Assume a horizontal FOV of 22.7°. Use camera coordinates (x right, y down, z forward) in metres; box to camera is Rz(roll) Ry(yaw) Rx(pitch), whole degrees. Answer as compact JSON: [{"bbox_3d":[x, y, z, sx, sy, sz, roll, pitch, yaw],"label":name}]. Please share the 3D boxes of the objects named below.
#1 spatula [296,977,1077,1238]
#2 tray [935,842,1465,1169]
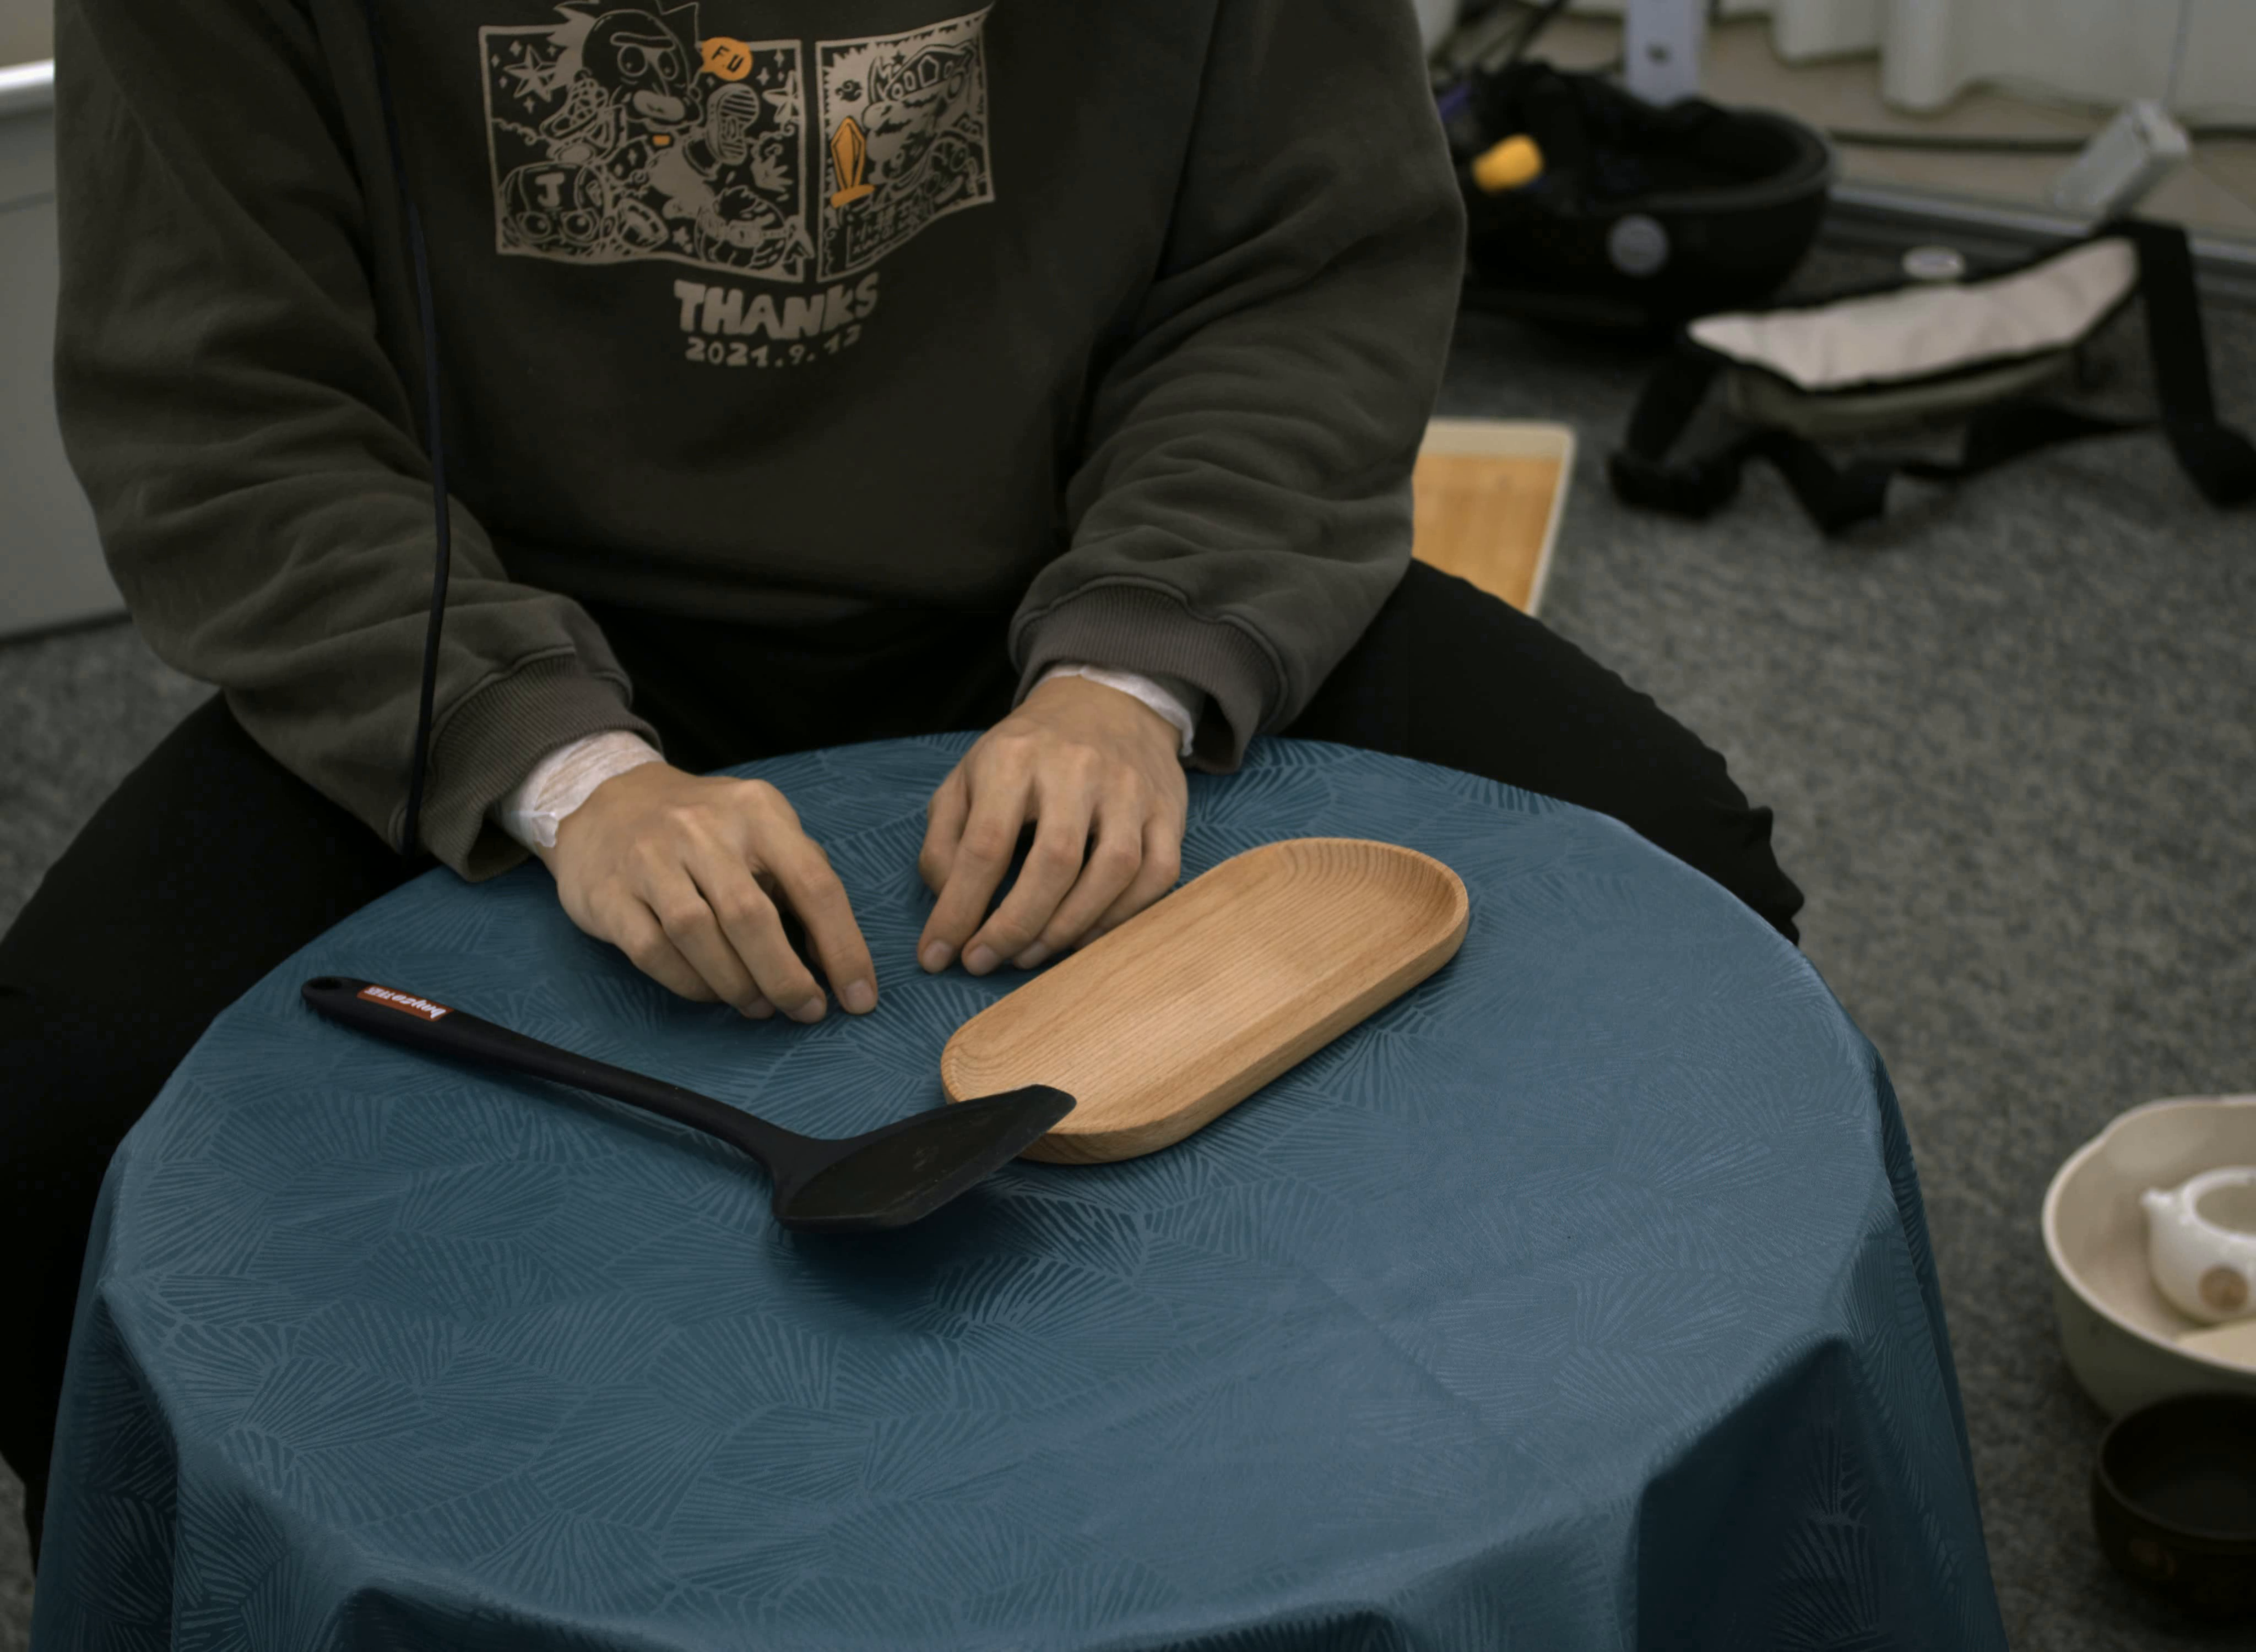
[{"bbox_3d":[-0.167,0.086,1.906,0.325,0.040,0.101,18,32,34],"label":"spatula"},{"bbox_3d":[0.027,0.061,1.956,0.101,0.020,0.234,19,36,36],"label":"tray"}]
